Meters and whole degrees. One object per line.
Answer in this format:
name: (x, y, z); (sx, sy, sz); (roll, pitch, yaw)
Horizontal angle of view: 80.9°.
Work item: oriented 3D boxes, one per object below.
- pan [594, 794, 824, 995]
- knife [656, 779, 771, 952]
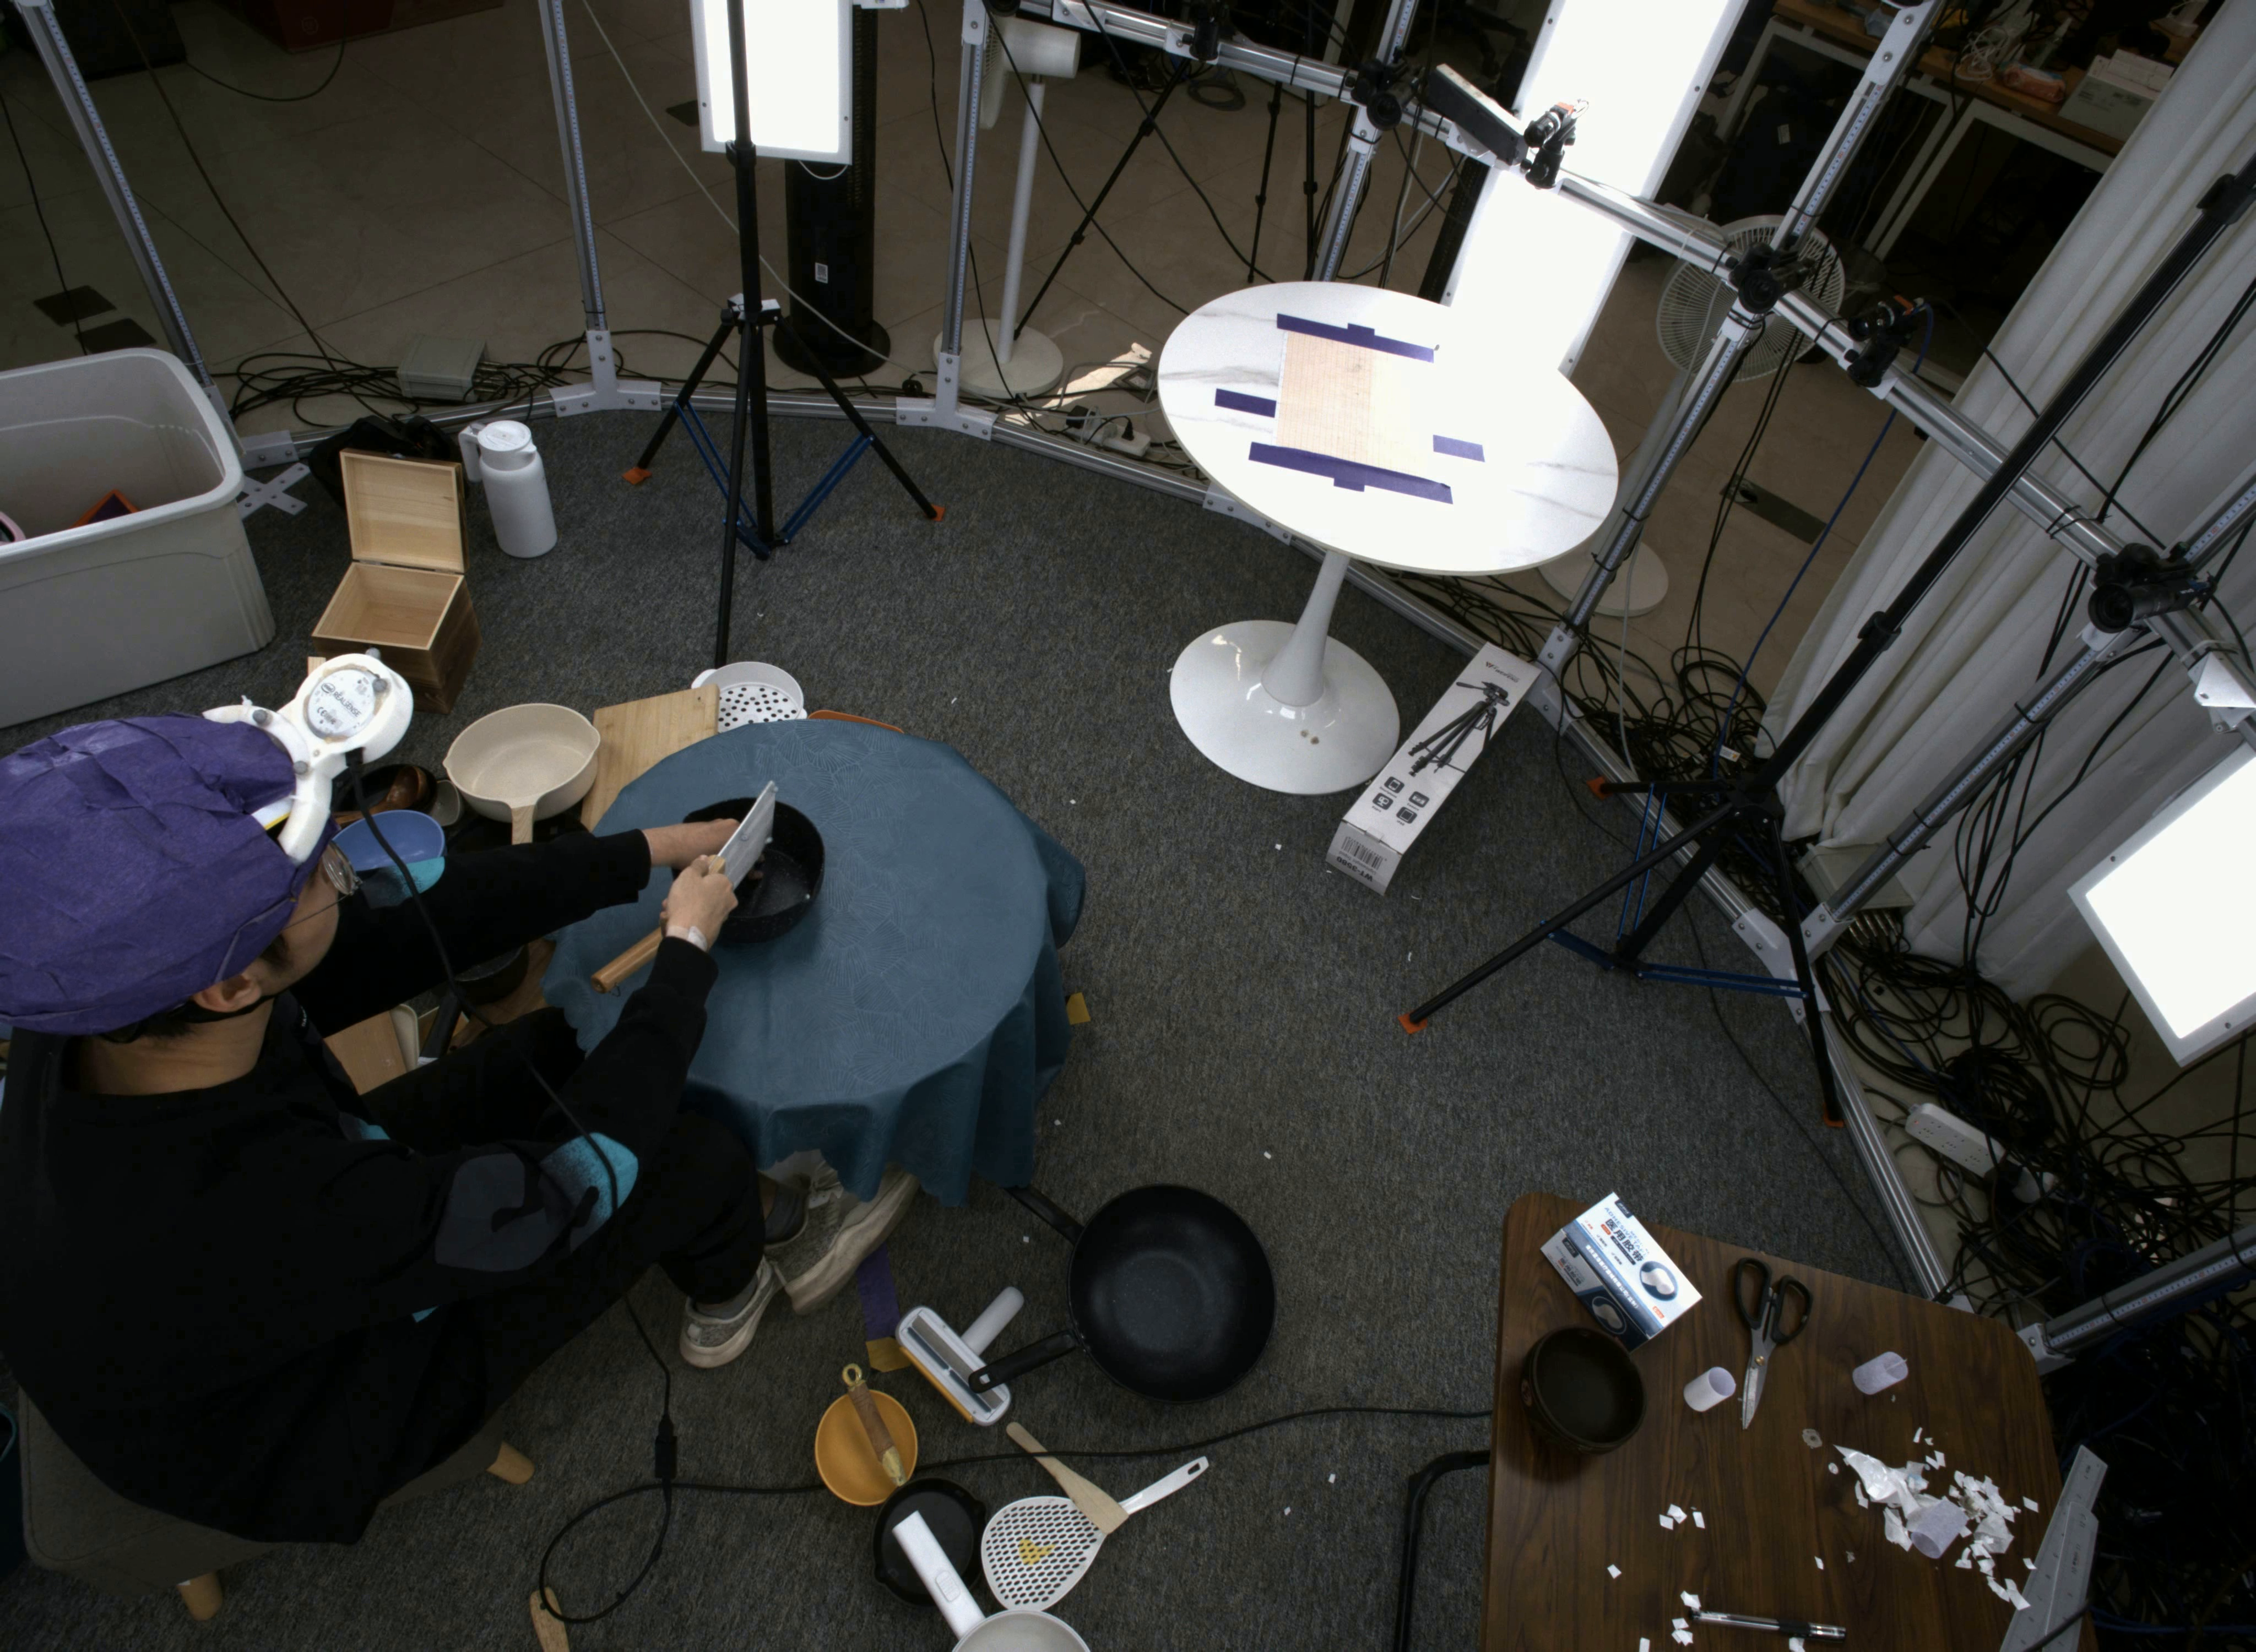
pan: (-0.506, 0.102, 1.544); (0.204, 0.110, 0.341); (31, 51, 8)
knife: (-0.467, 0.046, 1.484); (0.021, 0.116, 0.311); (14, 27, 1)
